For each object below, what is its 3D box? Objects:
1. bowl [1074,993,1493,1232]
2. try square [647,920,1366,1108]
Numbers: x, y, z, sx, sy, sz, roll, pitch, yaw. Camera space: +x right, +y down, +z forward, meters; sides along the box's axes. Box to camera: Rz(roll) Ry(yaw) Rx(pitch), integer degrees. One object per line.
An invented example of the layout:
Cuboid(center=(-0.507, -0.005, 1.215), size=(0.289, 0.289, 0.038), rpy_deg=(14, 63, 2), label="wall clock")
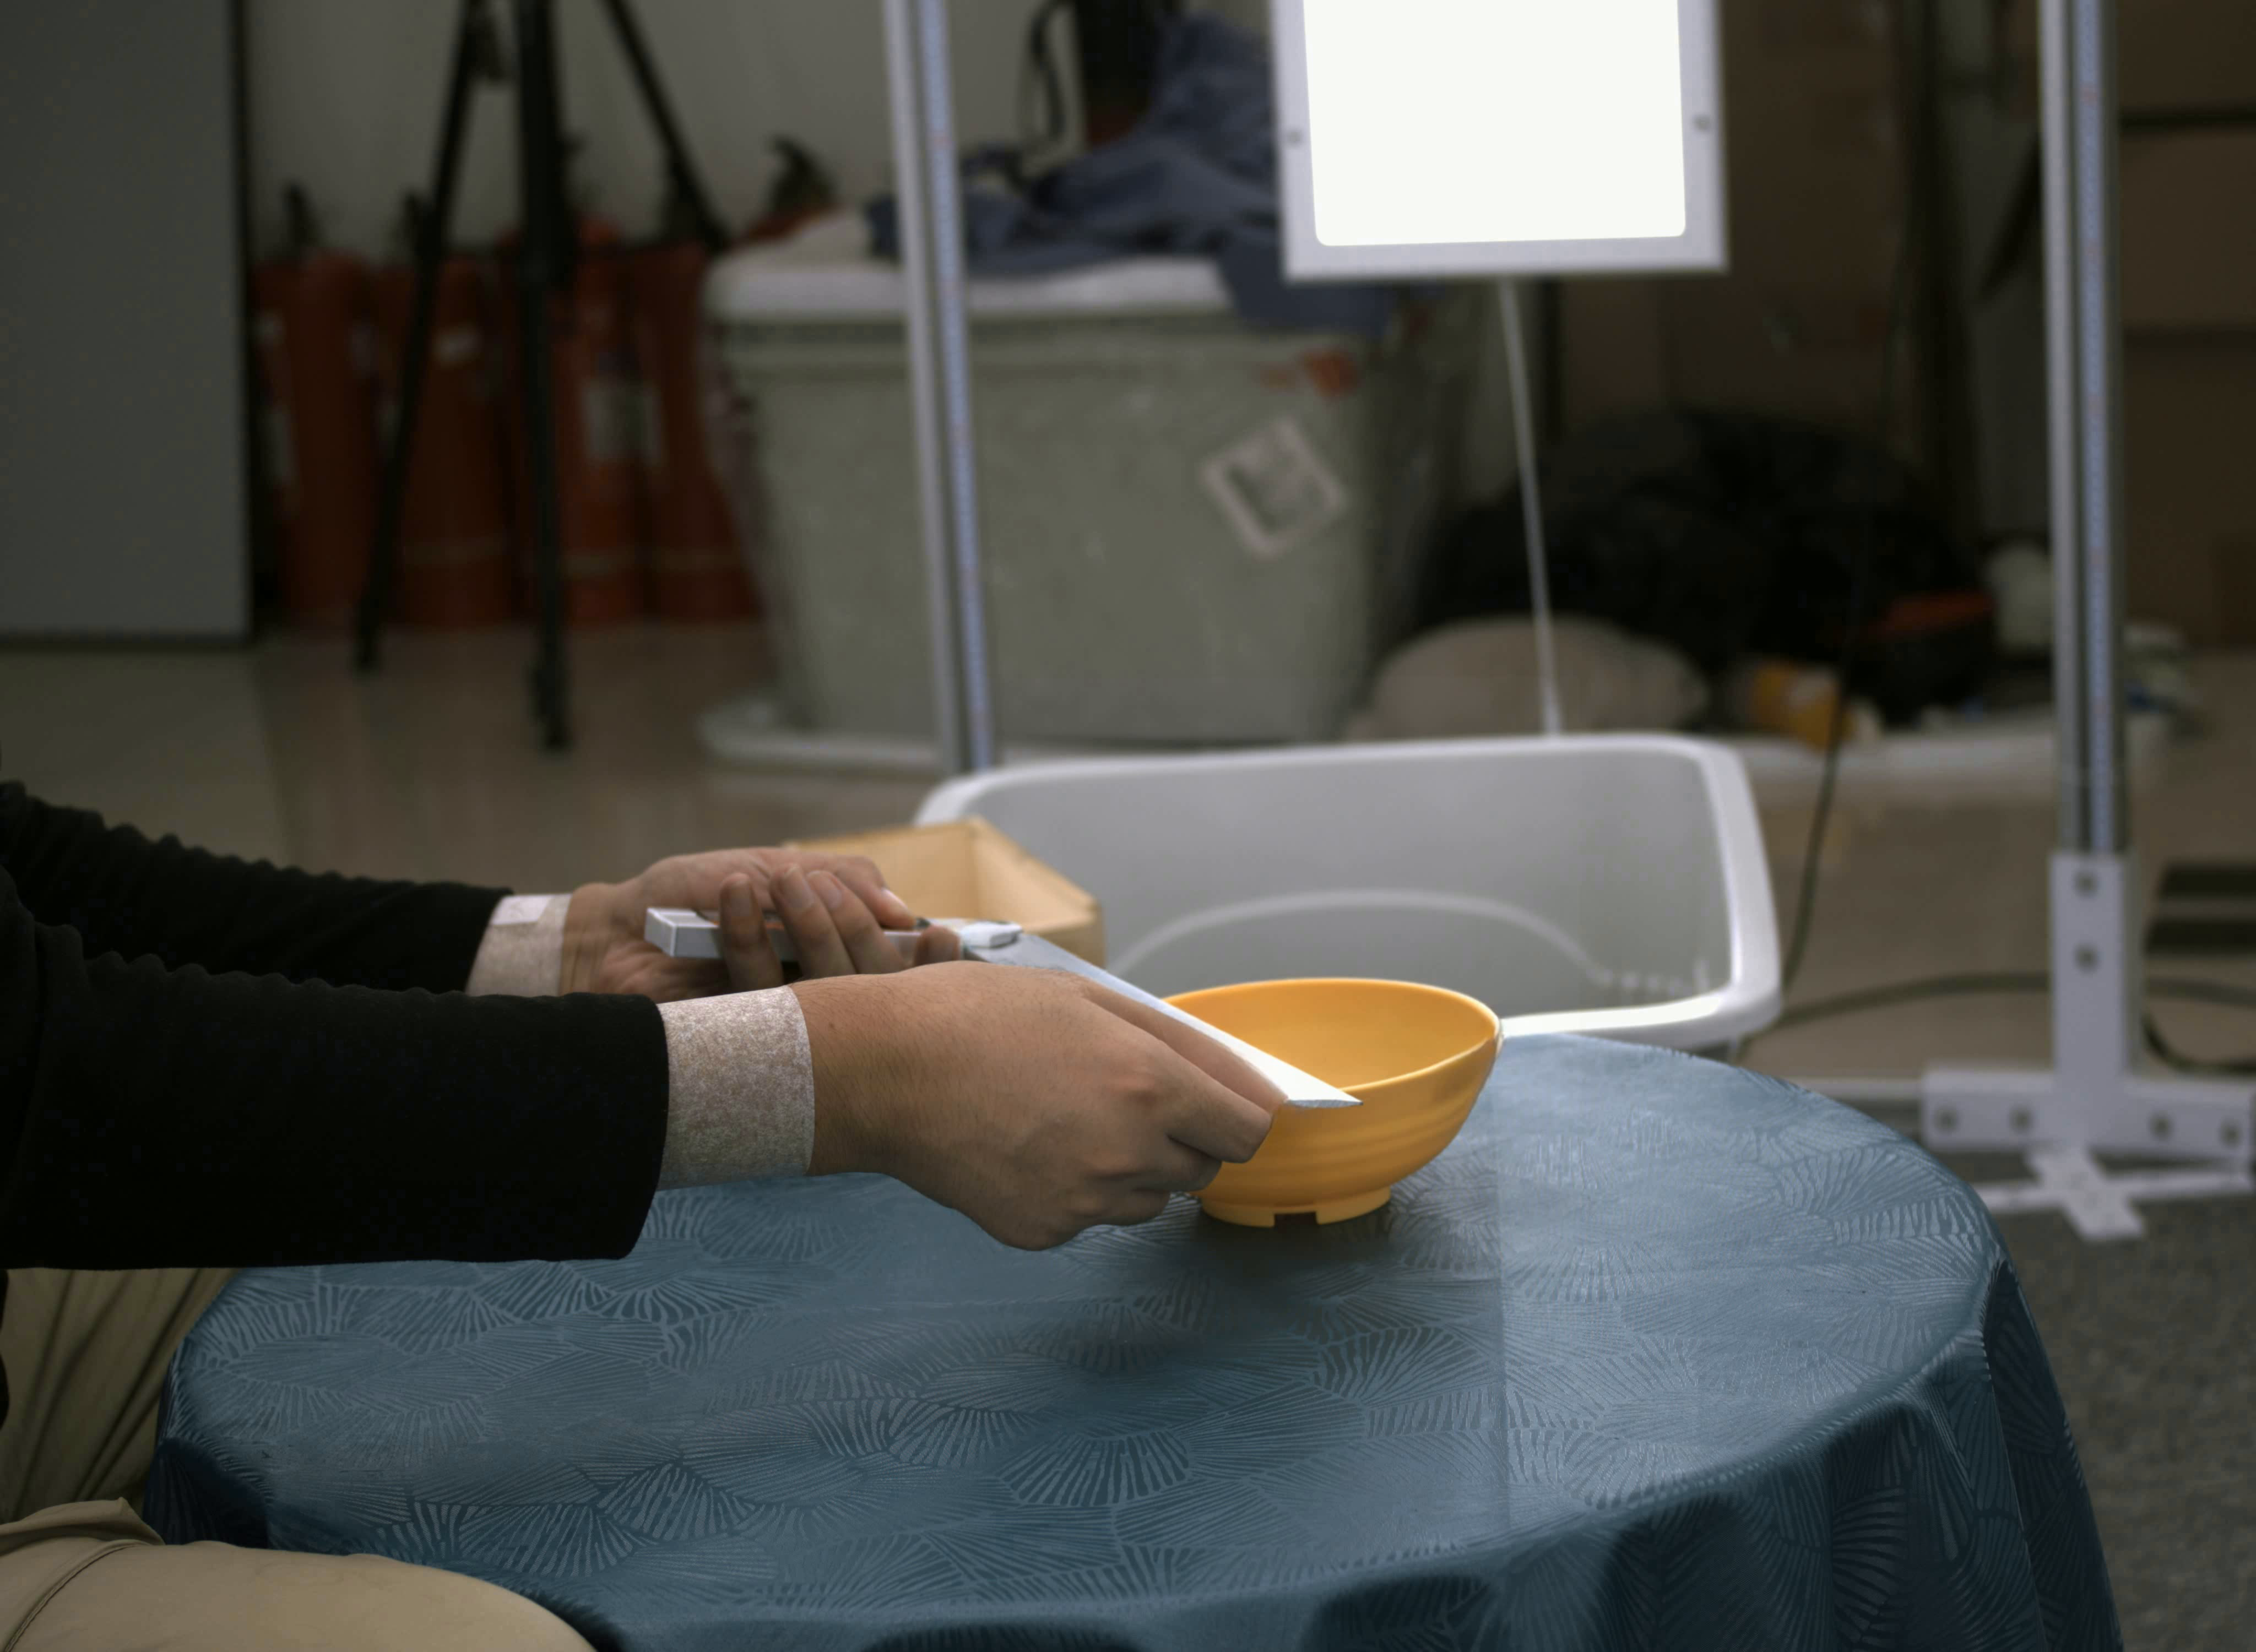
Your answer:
Cuboid(center=(0.056, 0.100, 1.866), size=(0.145, 0.060, 0.145), rpy_deg=(-6, 11, 0), label="bowl")
Cuboid(center=(-0.049, 0.064, 1.870), size=(0.149, 0.016, 0.317), rpy_deg=(-1, 9, -20), label="try square")
